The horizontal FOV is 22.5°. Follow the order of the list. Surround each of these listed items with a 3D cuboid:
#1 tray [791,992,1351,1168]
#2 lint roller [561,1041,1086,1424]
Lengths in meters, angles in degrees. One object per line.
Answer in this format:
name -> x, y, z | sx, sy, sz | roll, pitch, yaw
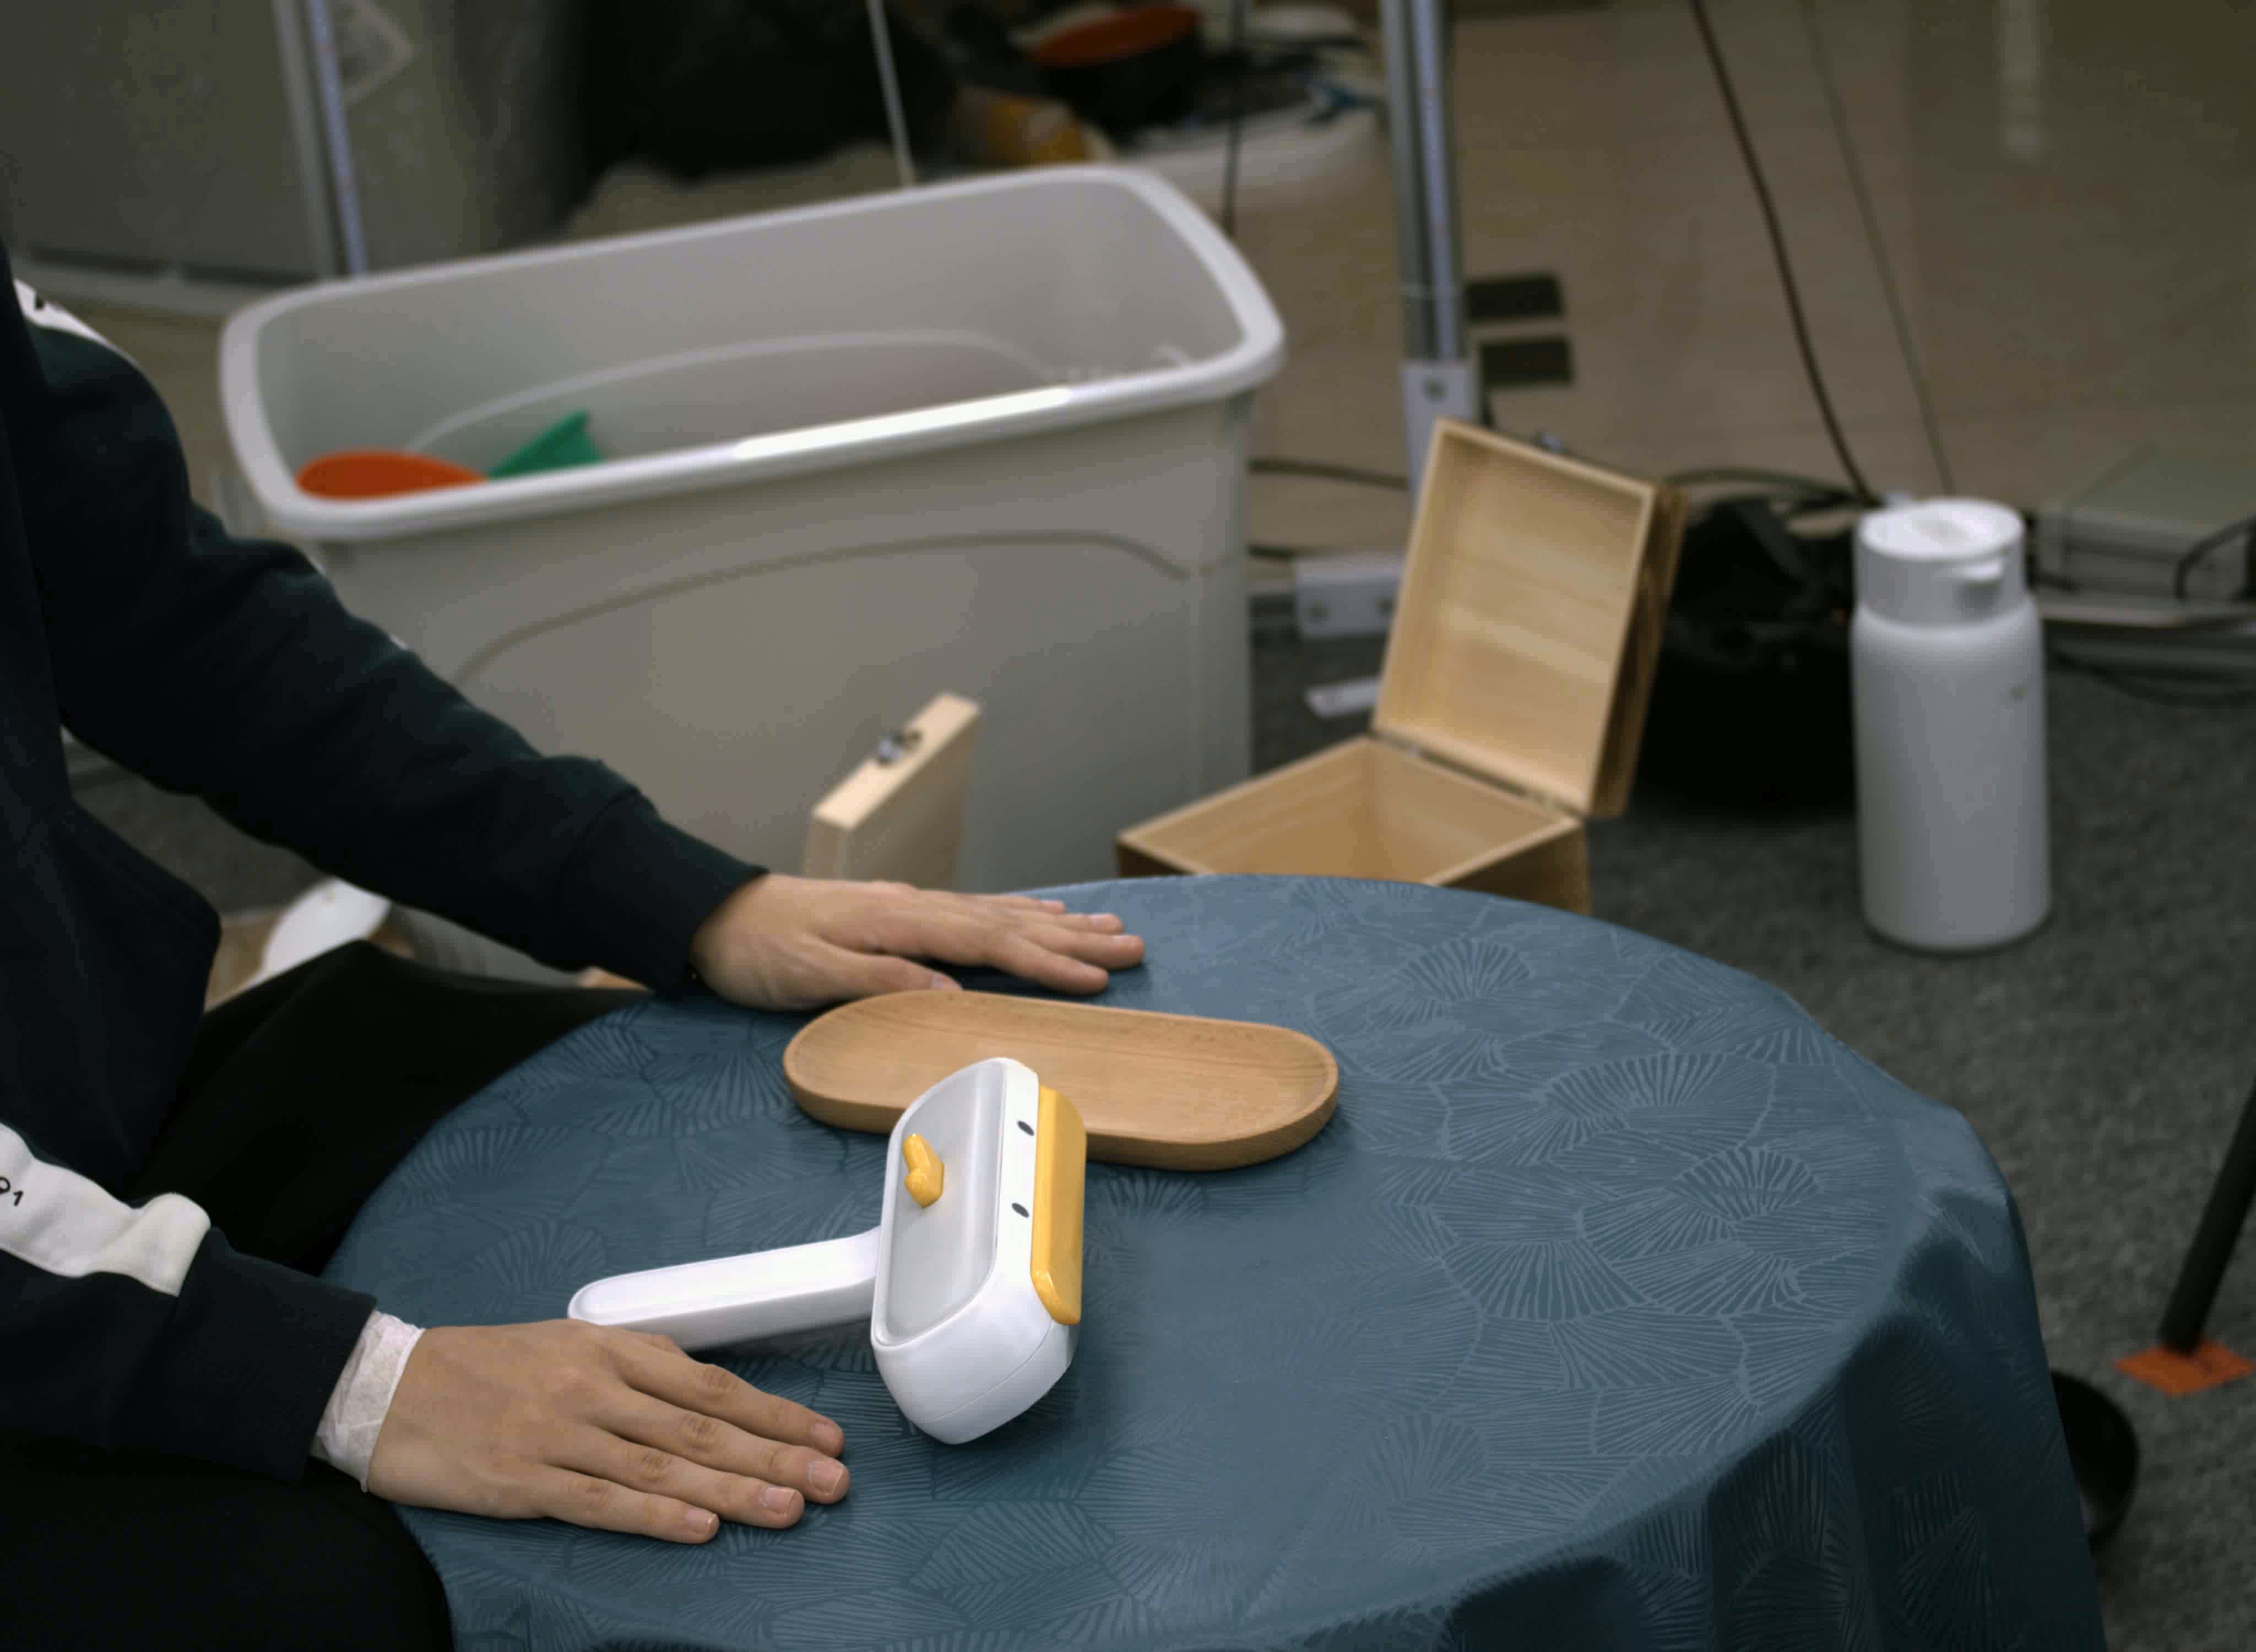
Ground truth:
tray -> -0.023, 0.099, 2.216 | 0.230, 0.020, 0.100 | 6, 29, 23
lint roller -> -0.110, 0.164, 2.061 | 0.192, 0.075, 0.189 | -24, 30, 9
